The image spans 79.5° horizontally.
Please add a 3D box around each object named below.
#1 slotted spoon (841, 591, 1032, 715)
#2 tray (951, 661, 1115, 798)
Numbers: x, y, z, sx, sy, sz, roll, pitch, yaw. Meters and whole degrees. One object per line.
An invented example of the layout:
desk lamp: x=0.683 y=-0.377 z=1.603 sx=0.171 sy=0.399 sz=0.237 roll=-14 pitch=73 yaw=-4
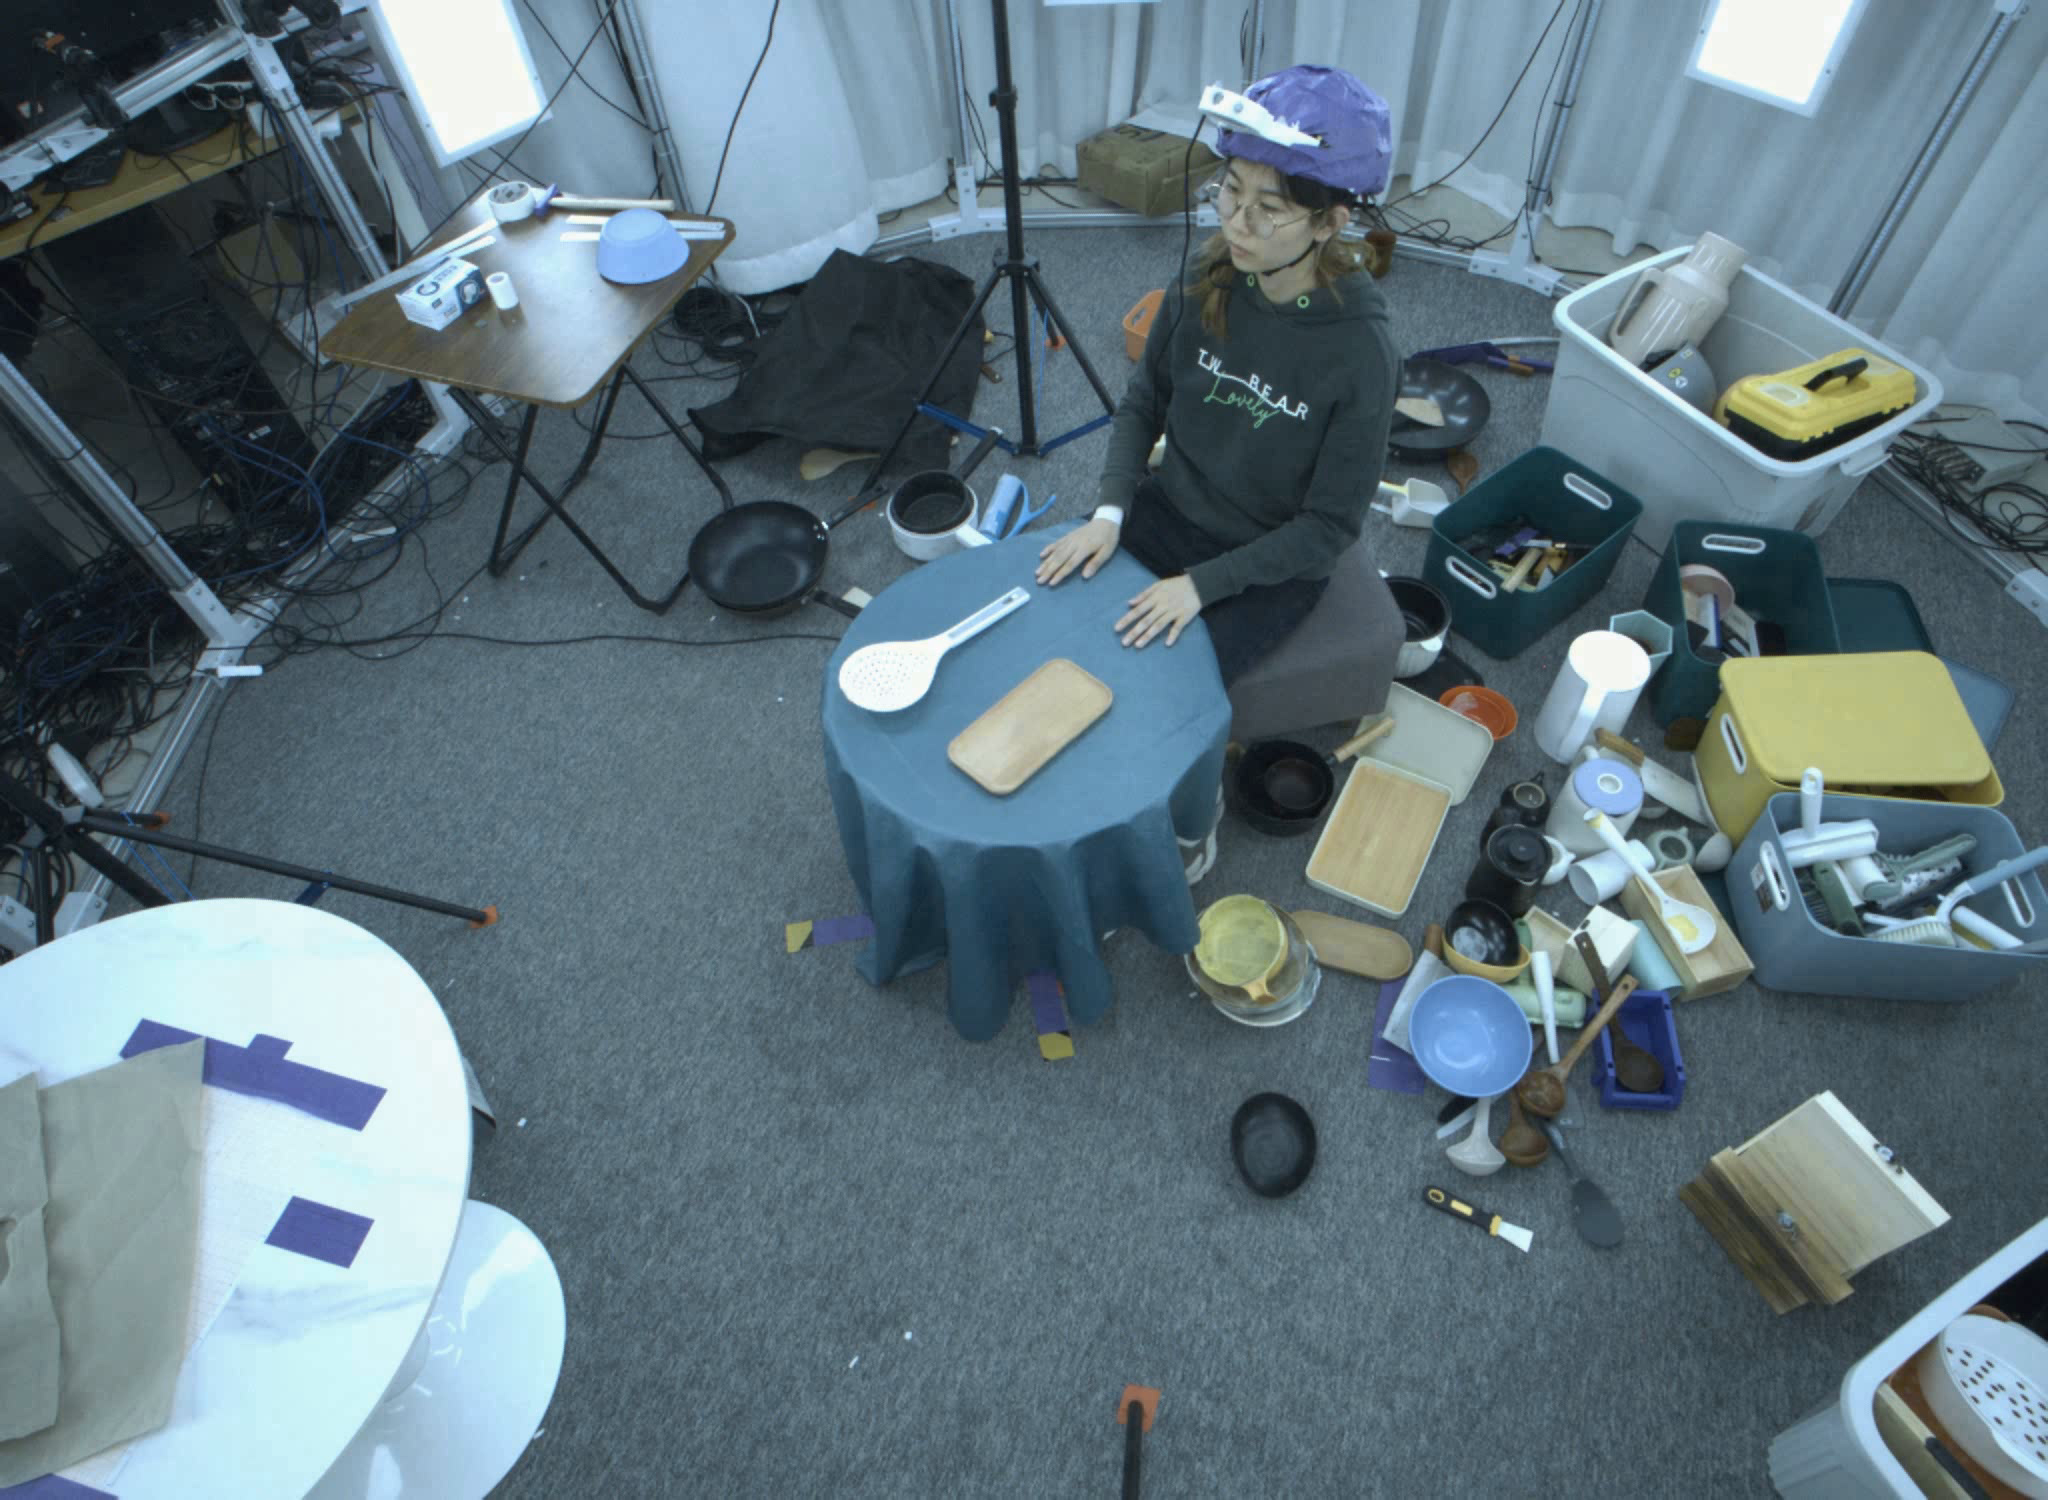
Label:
slotted spoon: x=-0.125 y=-0.157 z=1.884 sx=0.352 sy=0.046 sz=0.134 roll=-37 pitch=64 yaw=-23
tray: x=0.015 y=-0.032 z=1.810 sx=0.128 sy=0.023 sz=0.252 roll=39 pitch=64 yaw=23
